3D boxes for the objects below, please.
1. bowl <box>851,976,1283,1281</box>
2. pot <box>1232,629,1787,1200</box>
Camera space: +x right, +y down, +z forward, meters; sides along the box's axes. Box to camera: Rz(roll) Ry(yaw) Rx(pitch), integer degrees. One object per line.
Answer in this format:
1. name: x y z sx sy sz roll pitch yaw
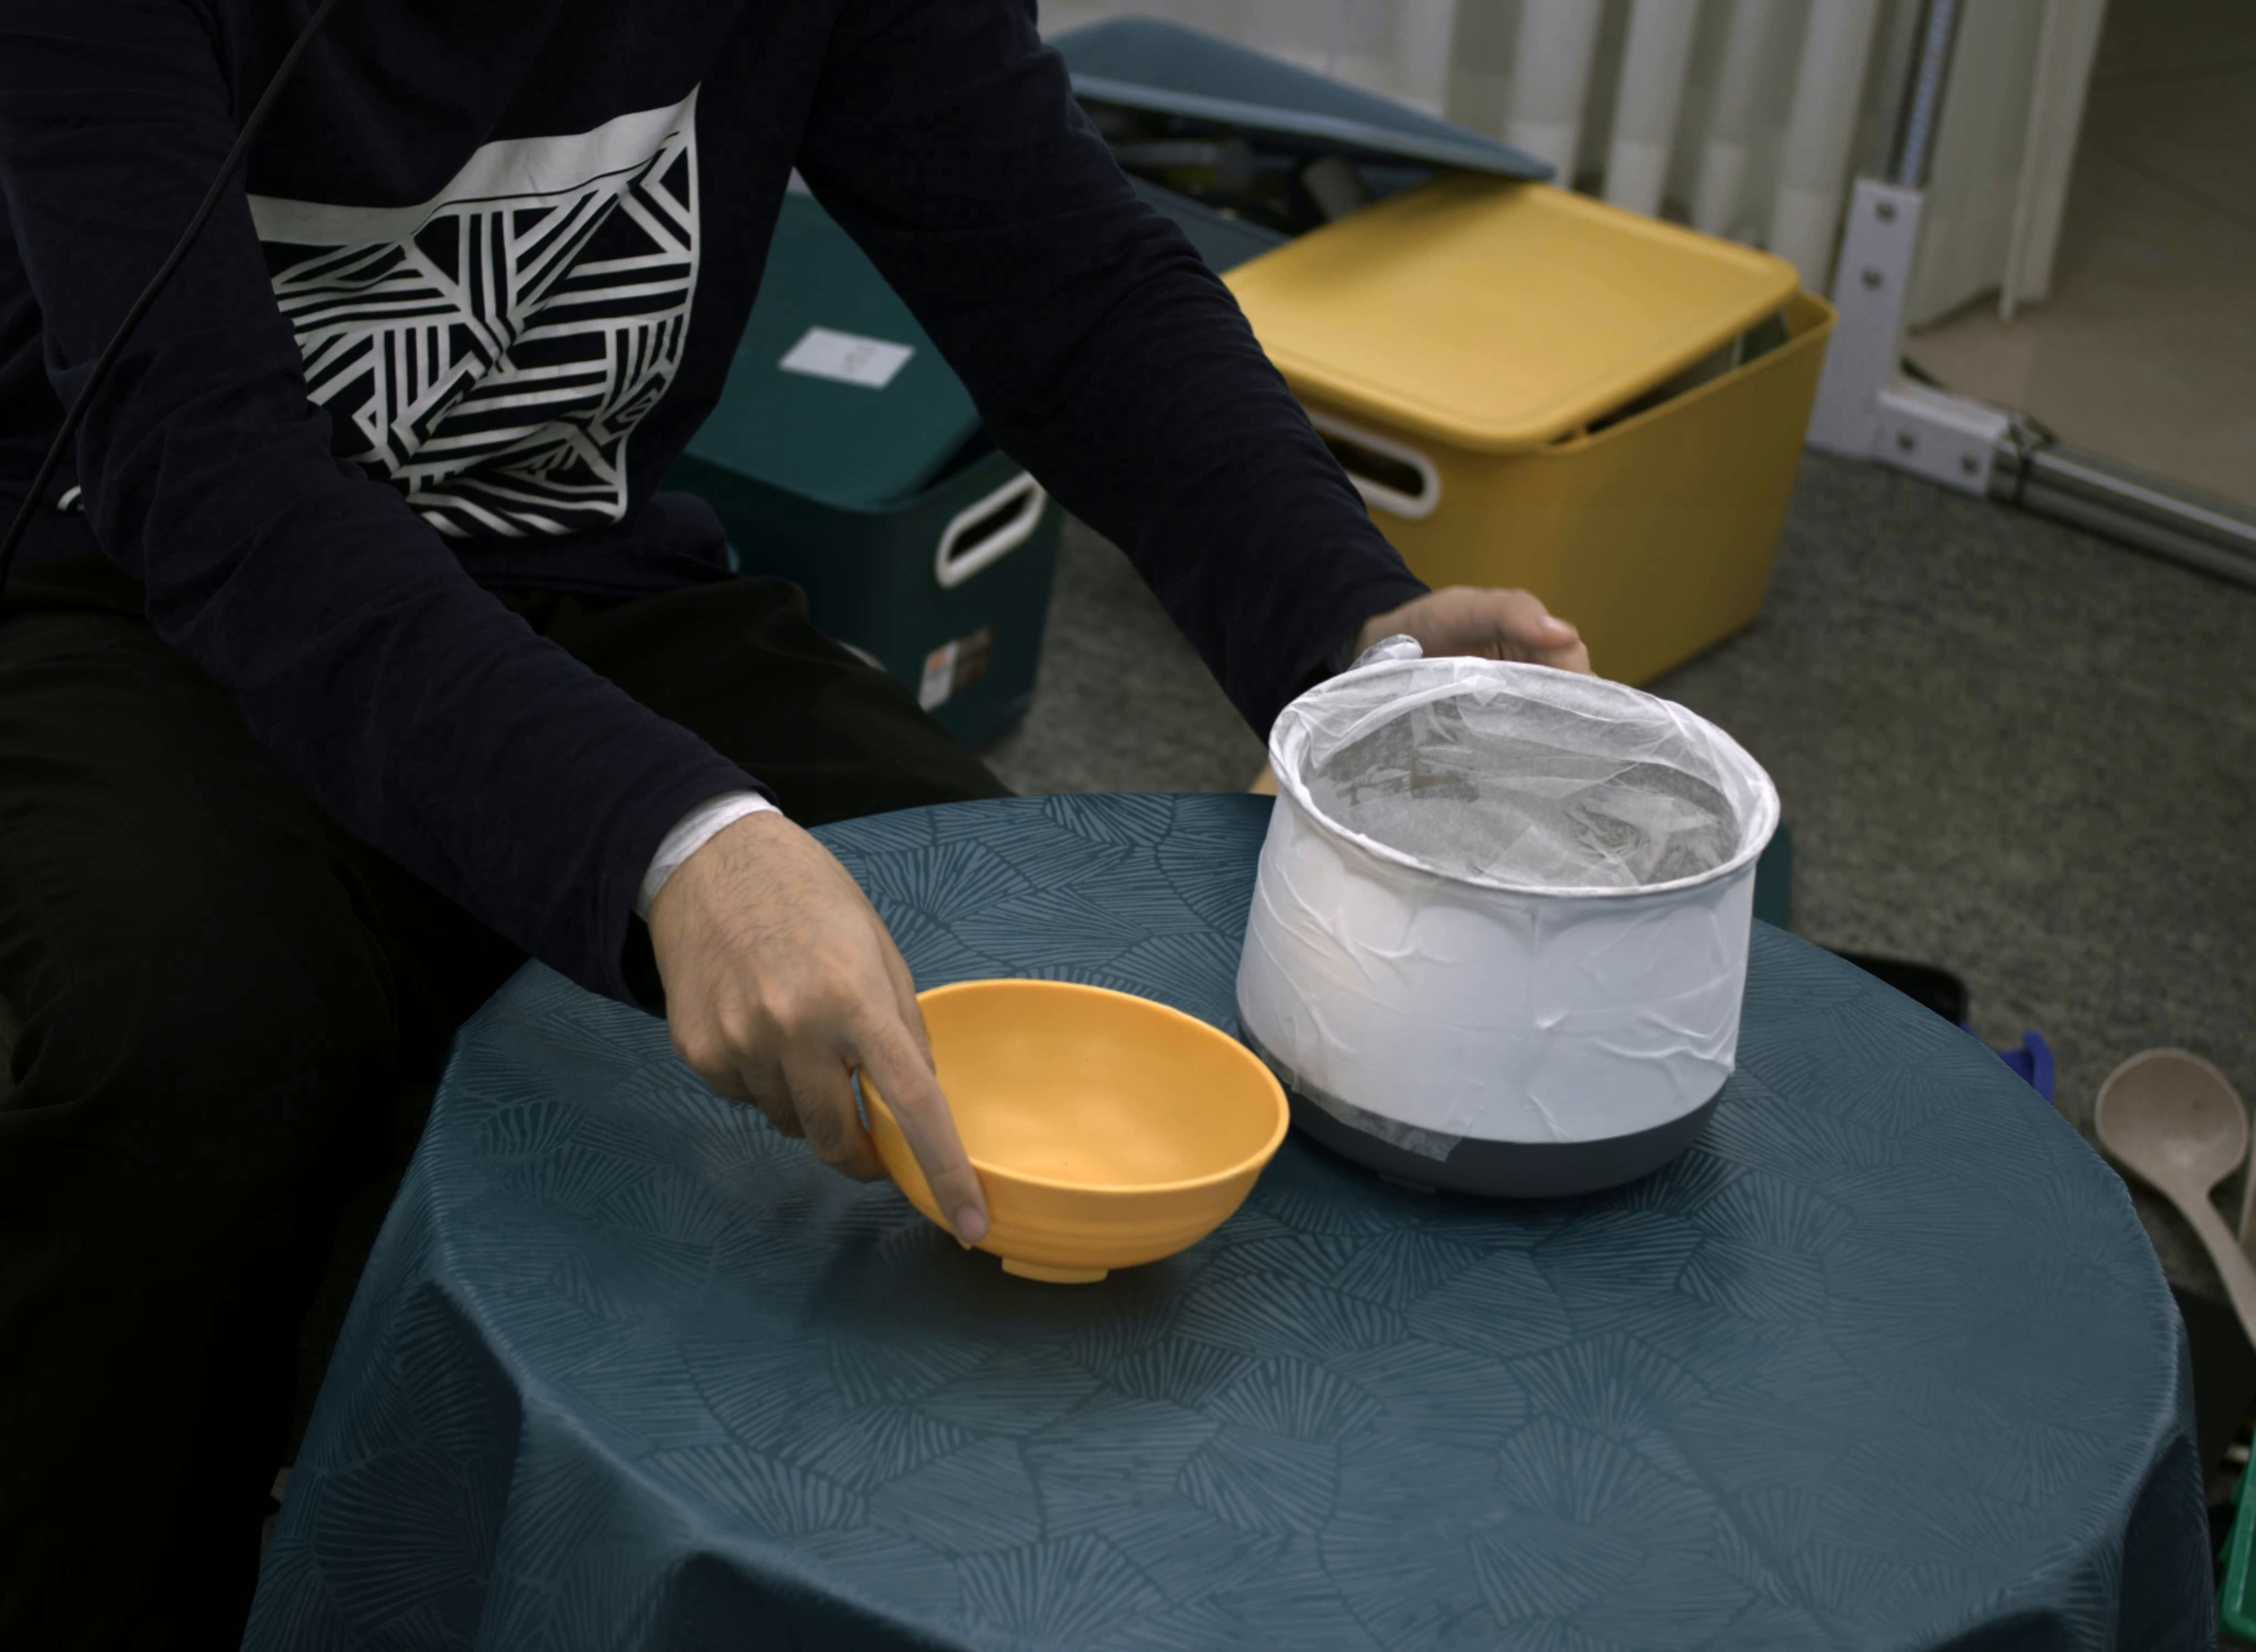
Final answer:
1. bowl: -0.024 0.109 1.761 0.145 0.060 0.146 7 25 -4
2. pot: 0.118 0.024 1.876 0.177 0.136 0.236 -4 29 -25
